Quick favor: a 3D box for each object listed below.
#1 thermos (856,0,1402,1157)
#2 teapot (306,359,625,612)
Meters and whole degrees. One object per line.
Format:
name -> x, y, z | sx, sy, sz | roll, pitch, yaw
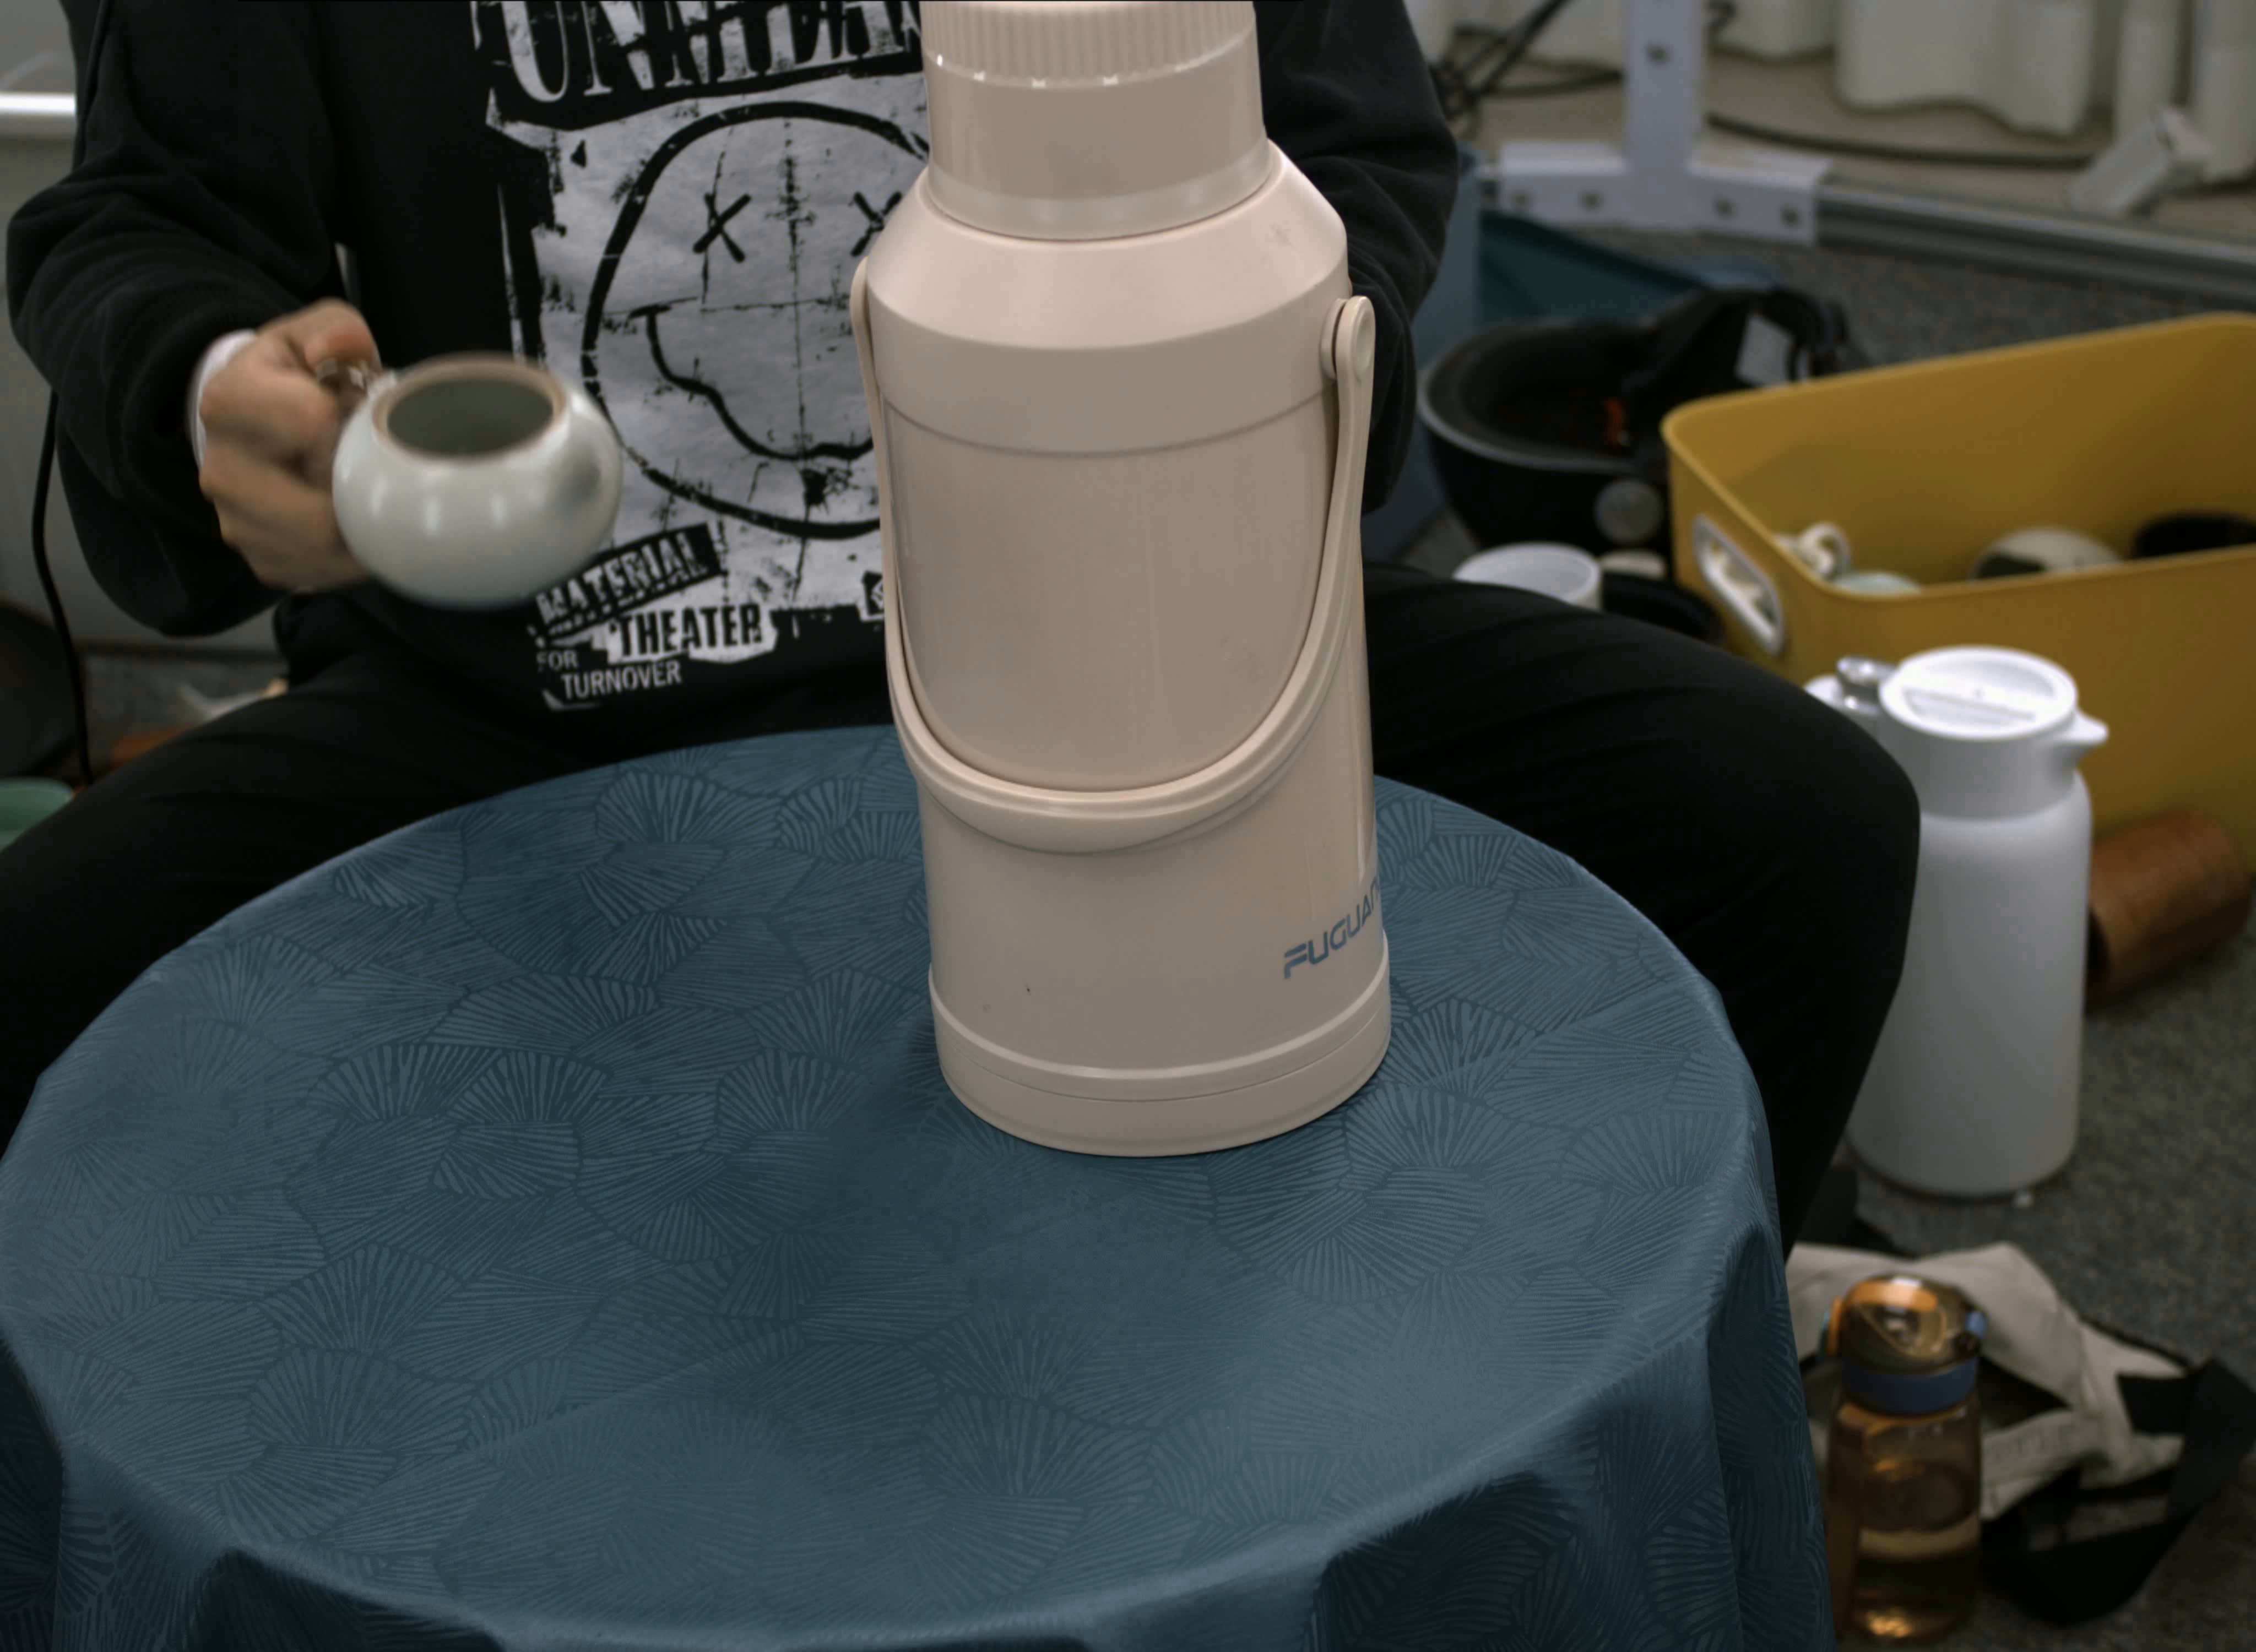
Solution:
thermos -> 0.008, -0.107, 1.873 | 0.174, 0.402, 0.210 | 4, 28, 20
teapot -> -0.213, -0.110, 1.786 | 0.128, 0.059, 0.093 | 23, 44, 28
